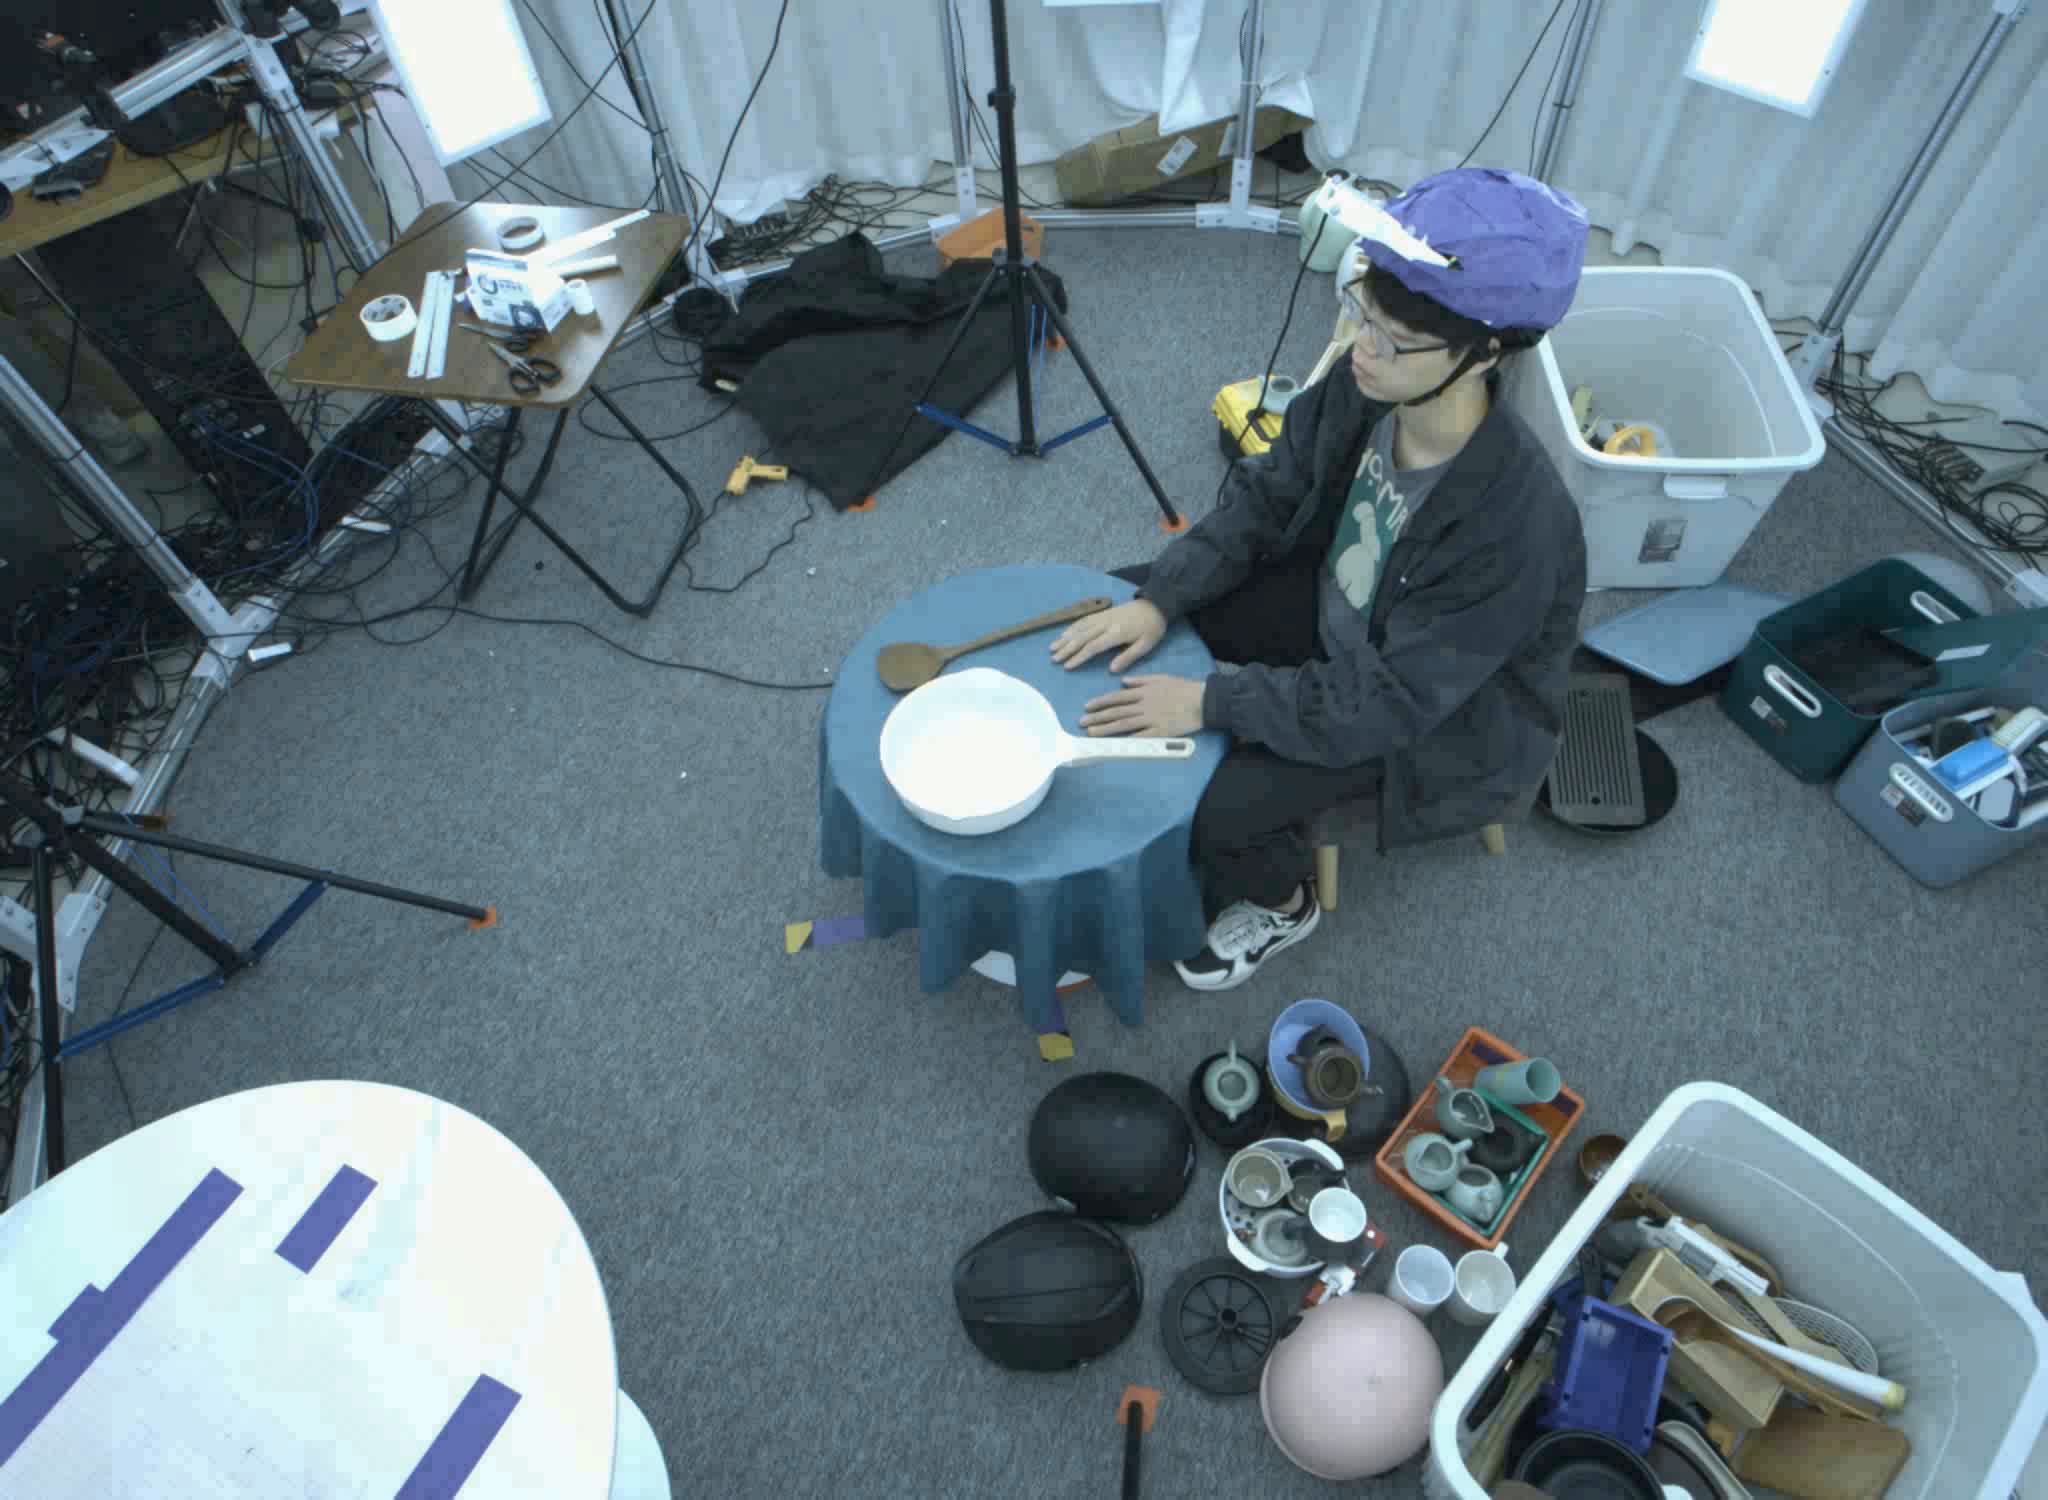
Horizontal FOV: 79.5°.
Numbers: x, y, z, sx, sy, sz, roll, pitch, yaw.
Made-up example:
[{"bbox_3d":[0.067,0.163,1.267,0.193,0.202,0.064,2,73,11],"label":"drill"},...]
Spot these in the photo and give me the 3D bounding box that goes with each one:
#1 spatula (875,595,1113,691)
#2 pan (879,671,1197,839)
[{"bbox_3d":[-0.042,-0.178,1.899,0.388,0.016,0.094,-19,57,-12],"label":"spatula"},{"bbox_3d":[0.018,0.016,1.704,0.433,0.103,0.261,4,53,5],"label":"pan"}]
